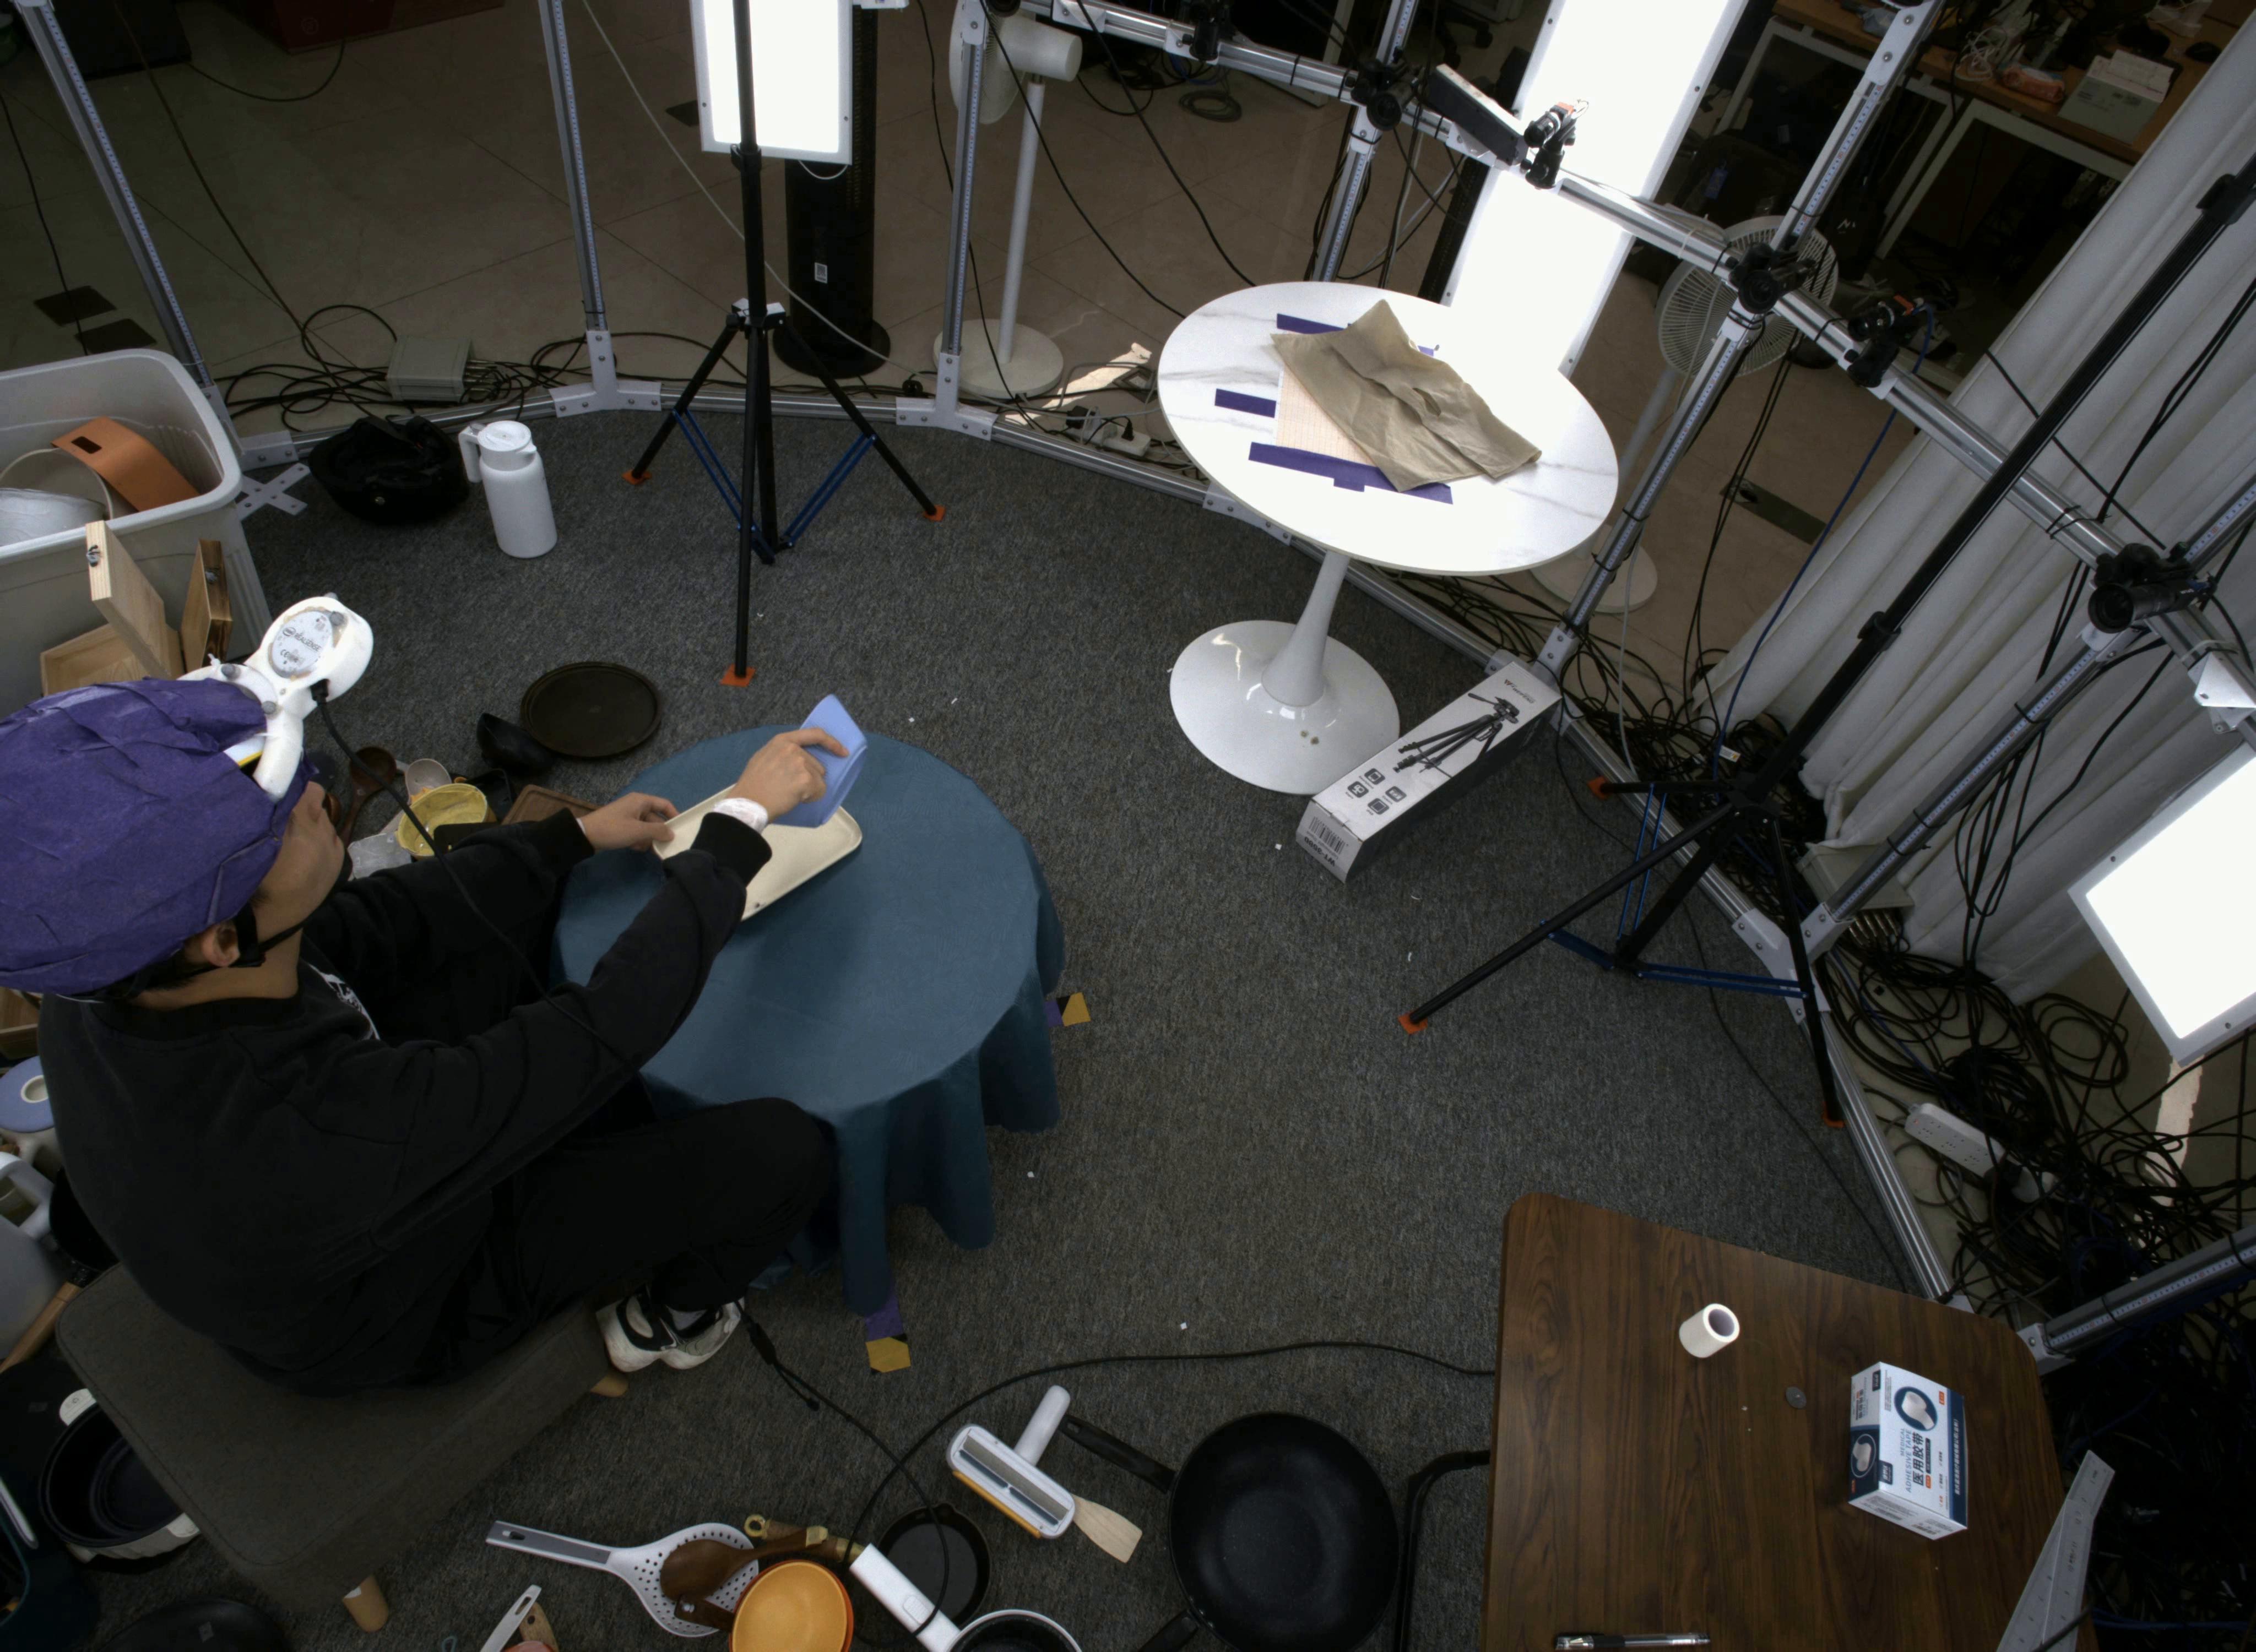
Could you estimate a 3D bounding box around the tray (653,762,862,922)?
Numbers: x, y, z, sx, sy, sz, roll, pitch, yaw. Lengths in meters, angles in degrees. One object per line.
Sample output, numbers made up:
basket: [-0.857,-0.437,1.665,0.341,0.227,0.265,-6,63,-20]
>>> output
tray: [-0.475,0.017,1.668,0.169,0.018,0.240,43,49,11]

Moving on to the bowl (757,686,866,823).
bowl: [-0.367,-0.072,1.535,0.070,0.177,0.174,29,51,-4]
